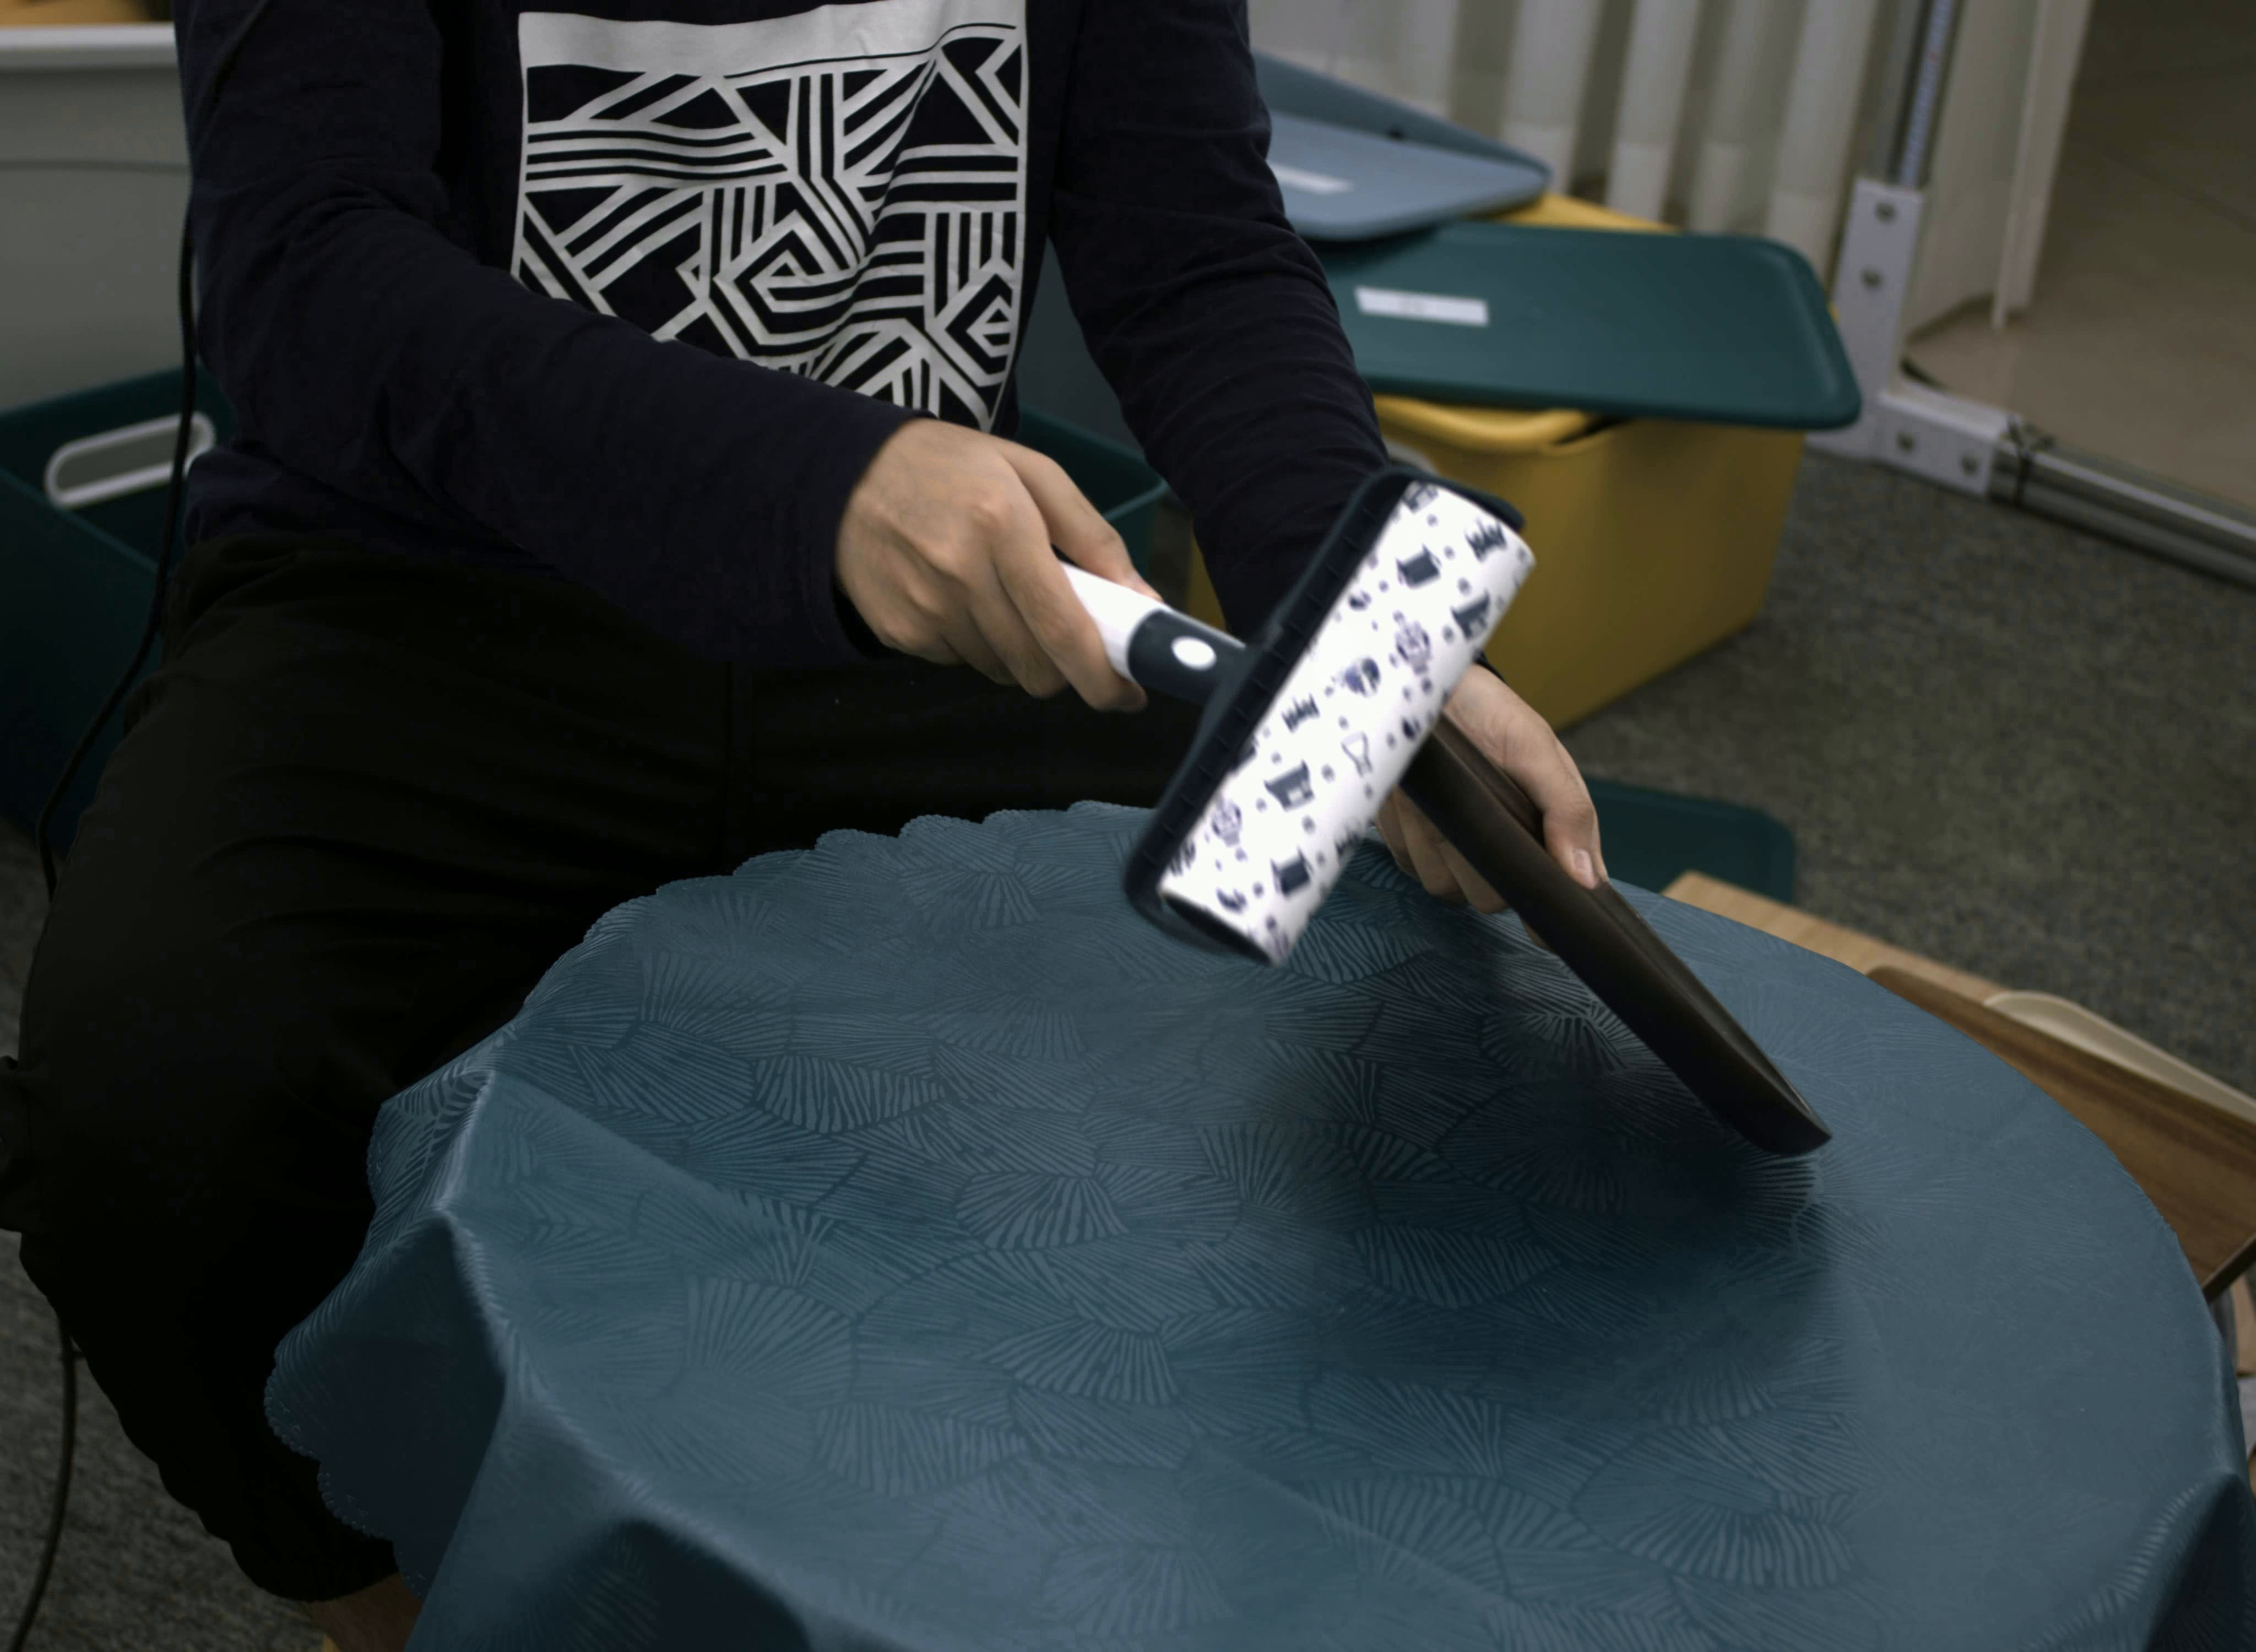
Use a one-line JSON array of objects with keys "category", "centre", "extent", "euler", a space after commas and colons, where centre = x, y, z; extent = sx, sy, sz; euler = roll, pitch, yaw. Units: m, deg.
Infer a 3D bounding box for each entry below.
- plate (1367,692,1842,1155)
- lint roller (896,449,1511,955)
[{"category": "plate", "centre": [0.150, 0.023, 1.840], "extent": [0.254, 0.029, 0.255], "euler": [45, 3, -4]}, {"category": "lint roller", "centre": [-0.001, -0.066, 1.801], "extent": [0.249, 0.176, 0.050], "euler": [22, -13, 44]}]
